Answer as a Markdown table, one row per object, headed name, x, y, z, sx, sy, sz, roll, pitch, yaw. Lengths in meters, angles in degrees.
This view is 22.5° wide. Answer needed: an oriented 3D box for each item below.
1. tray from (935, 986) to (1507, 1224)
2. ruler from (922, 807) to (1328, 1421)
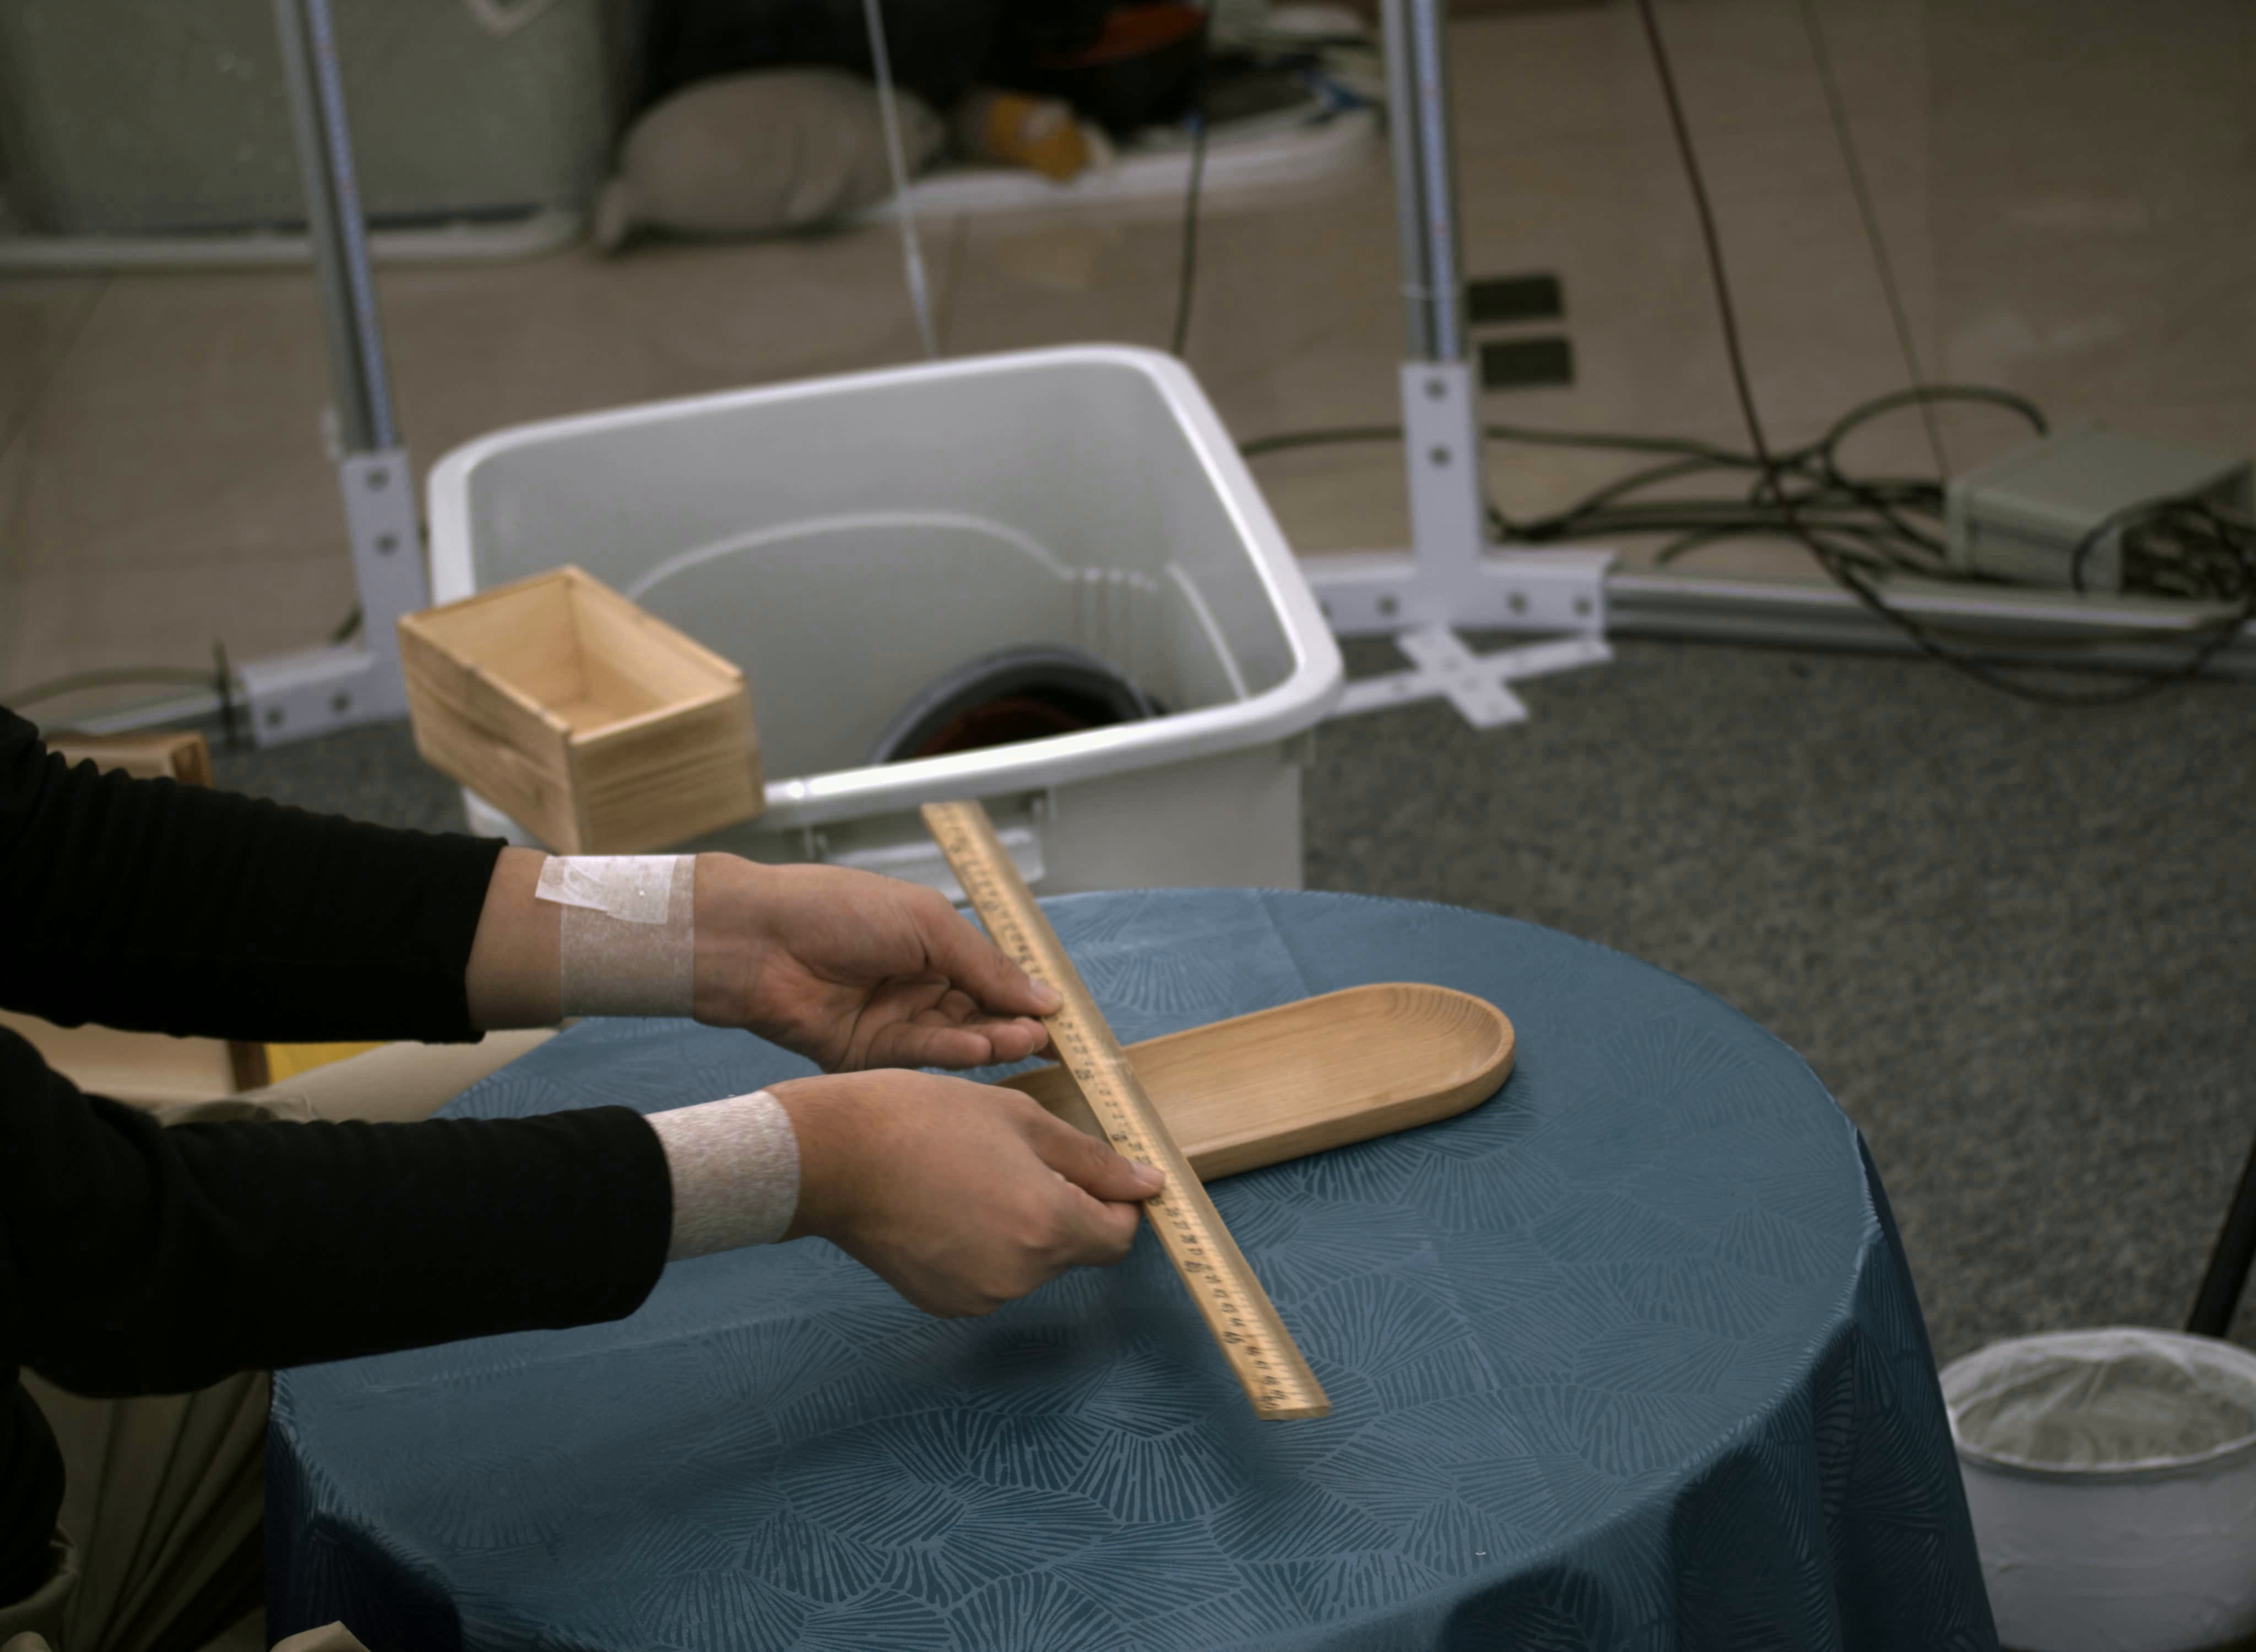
| name | x | y | z | sx | sy | sz | roll | pitch | yaw |
| --- | --- | --- | --- | --- | --- | --- | --- | --- | --- |
| tray | 0.037 | 0.107 | 2.187 | 0.230 | 0.020 | 0.100 | -16 | 25 | -16 |
| ruler | -0.010 | 0.097 | 2.133 | 0.027 | 0.006 | 0.493 | -4 | 26 | -15 |
